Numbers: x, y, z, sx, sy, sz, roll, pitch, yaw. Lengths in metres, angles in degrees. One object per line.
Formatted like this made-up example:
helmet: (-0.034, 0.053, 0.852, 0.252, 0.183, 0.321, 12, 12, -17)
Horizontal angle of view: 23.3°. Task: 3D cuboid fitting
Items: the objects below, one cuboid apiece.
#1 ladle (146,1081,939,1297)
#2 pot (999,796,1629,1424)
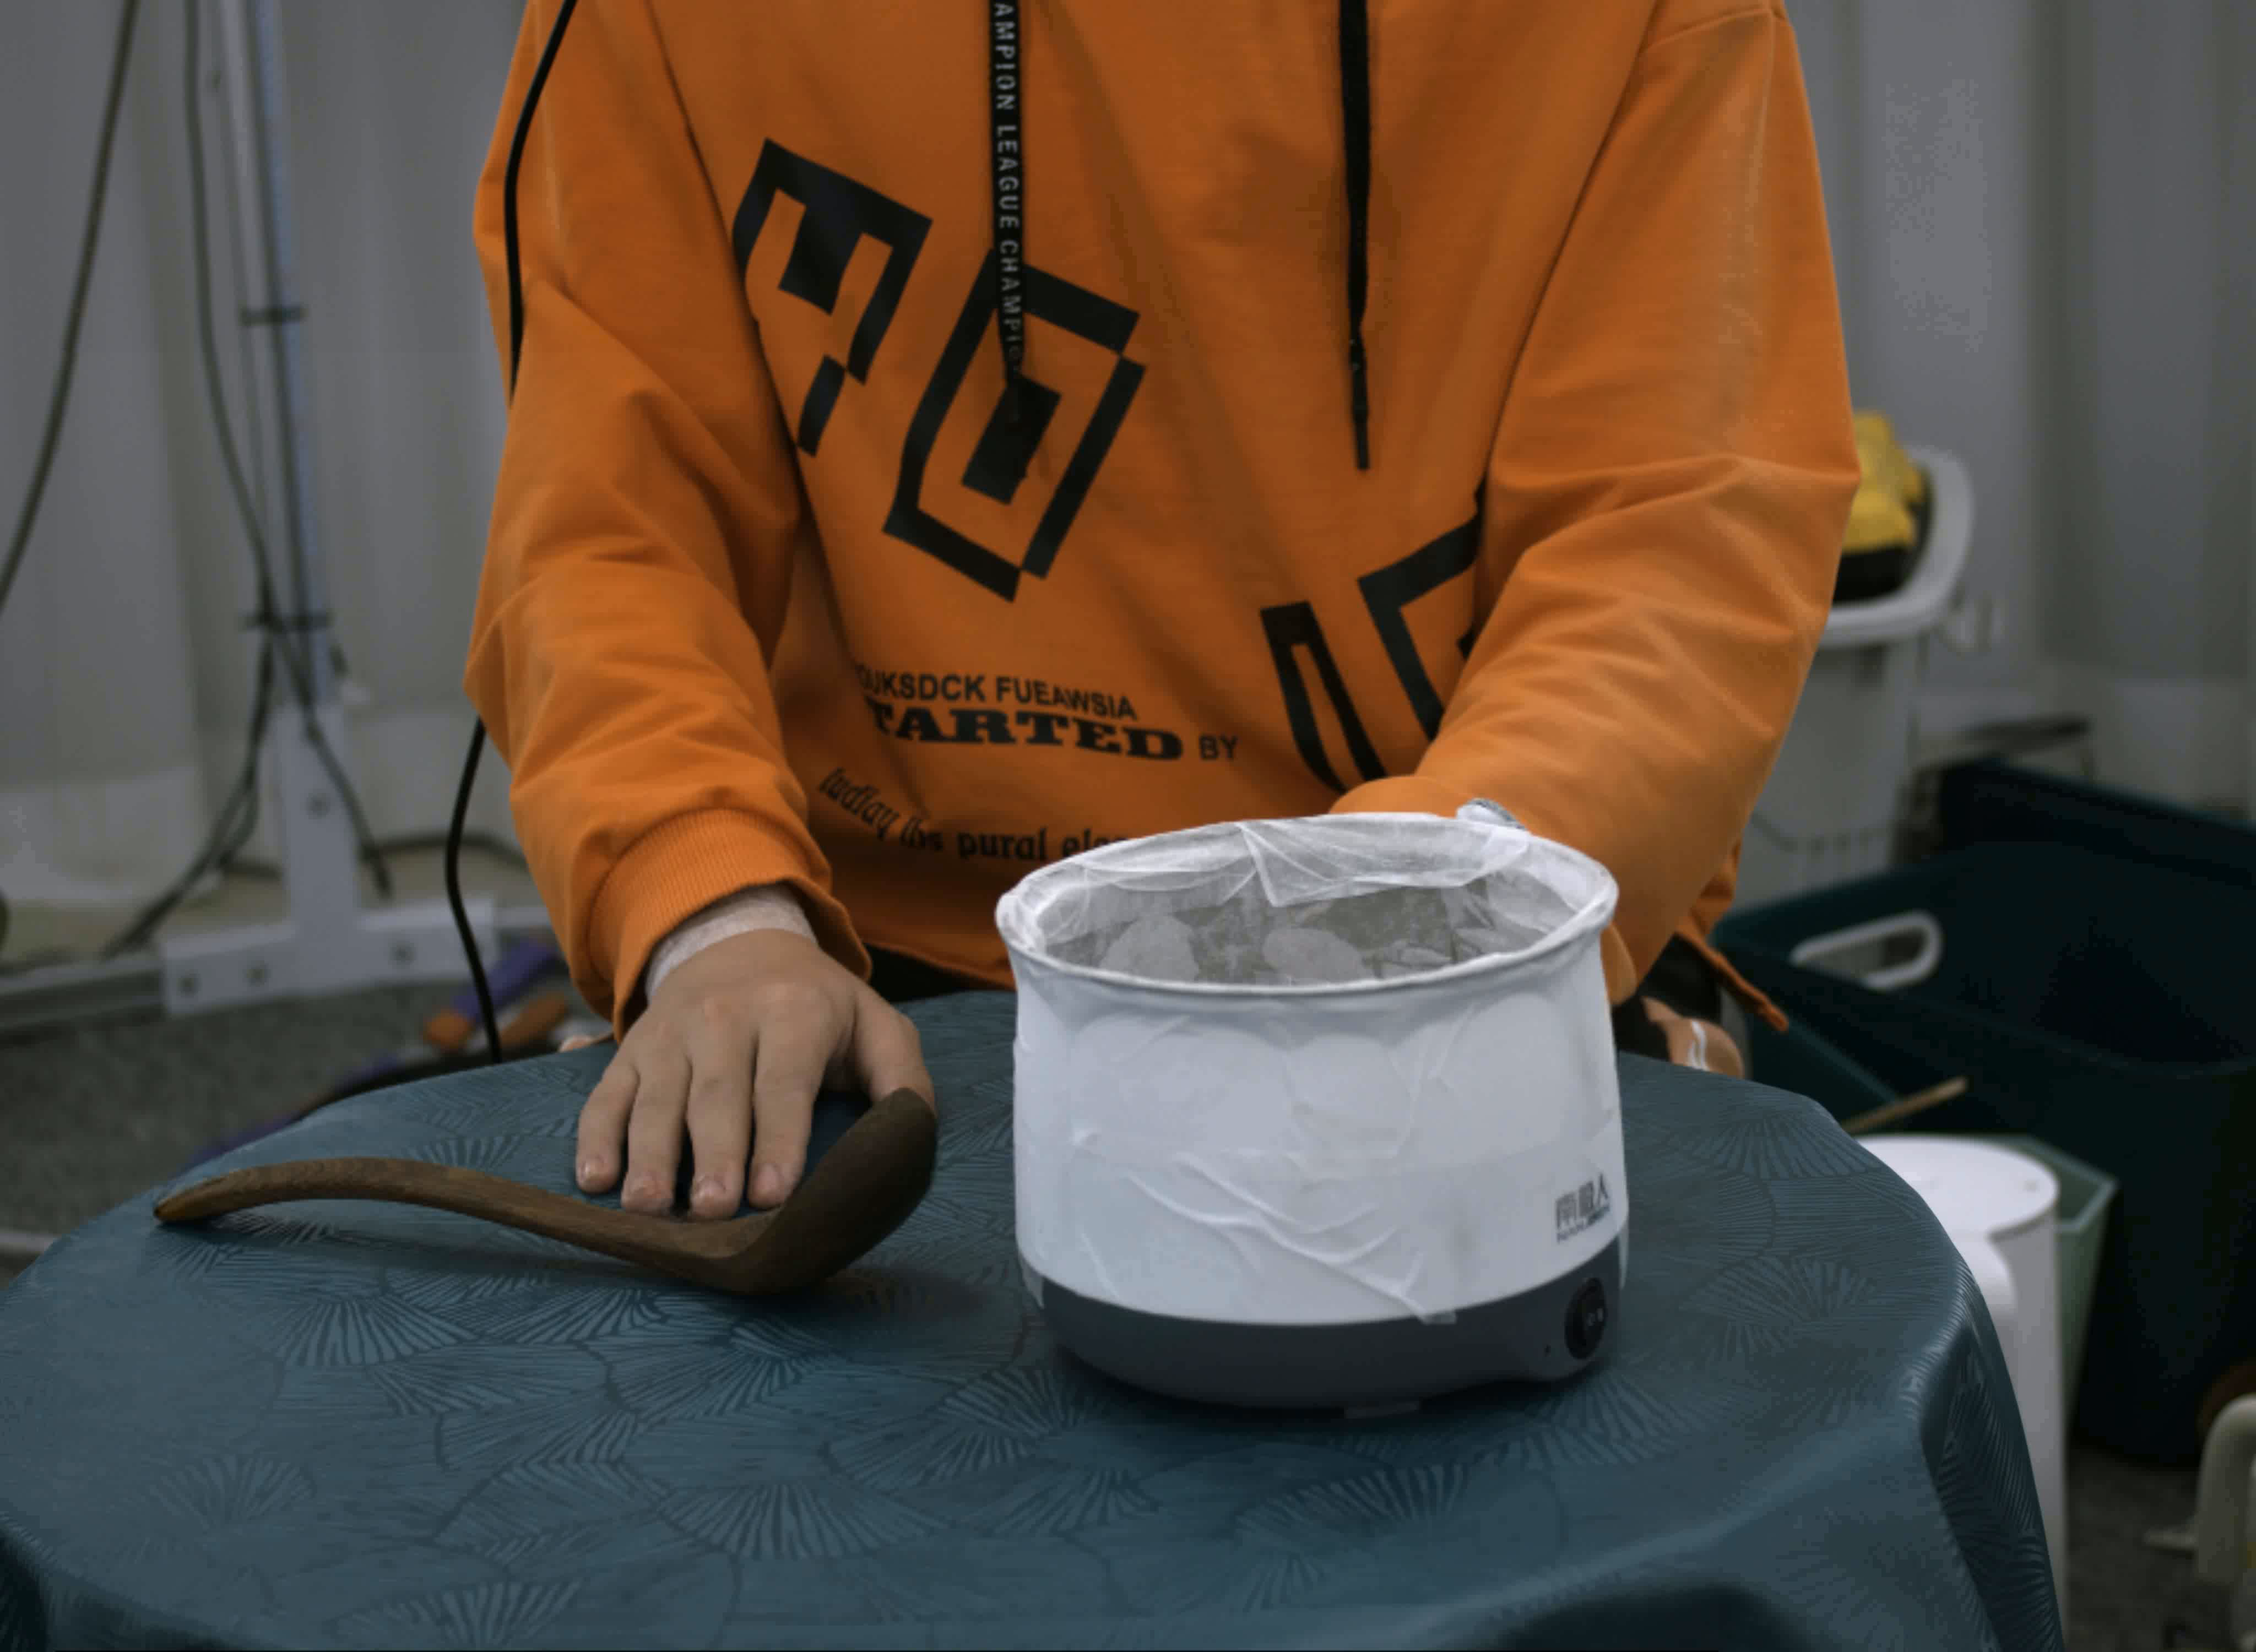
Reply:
ladle: (-0.184, 0.100, 1.672, 0.274, 0.071, 0.076, 5, 13, 26)
pot: (0.069, 0.075, 1.587, 0.179, 0.136, 0.234, 7, 18, 32)
